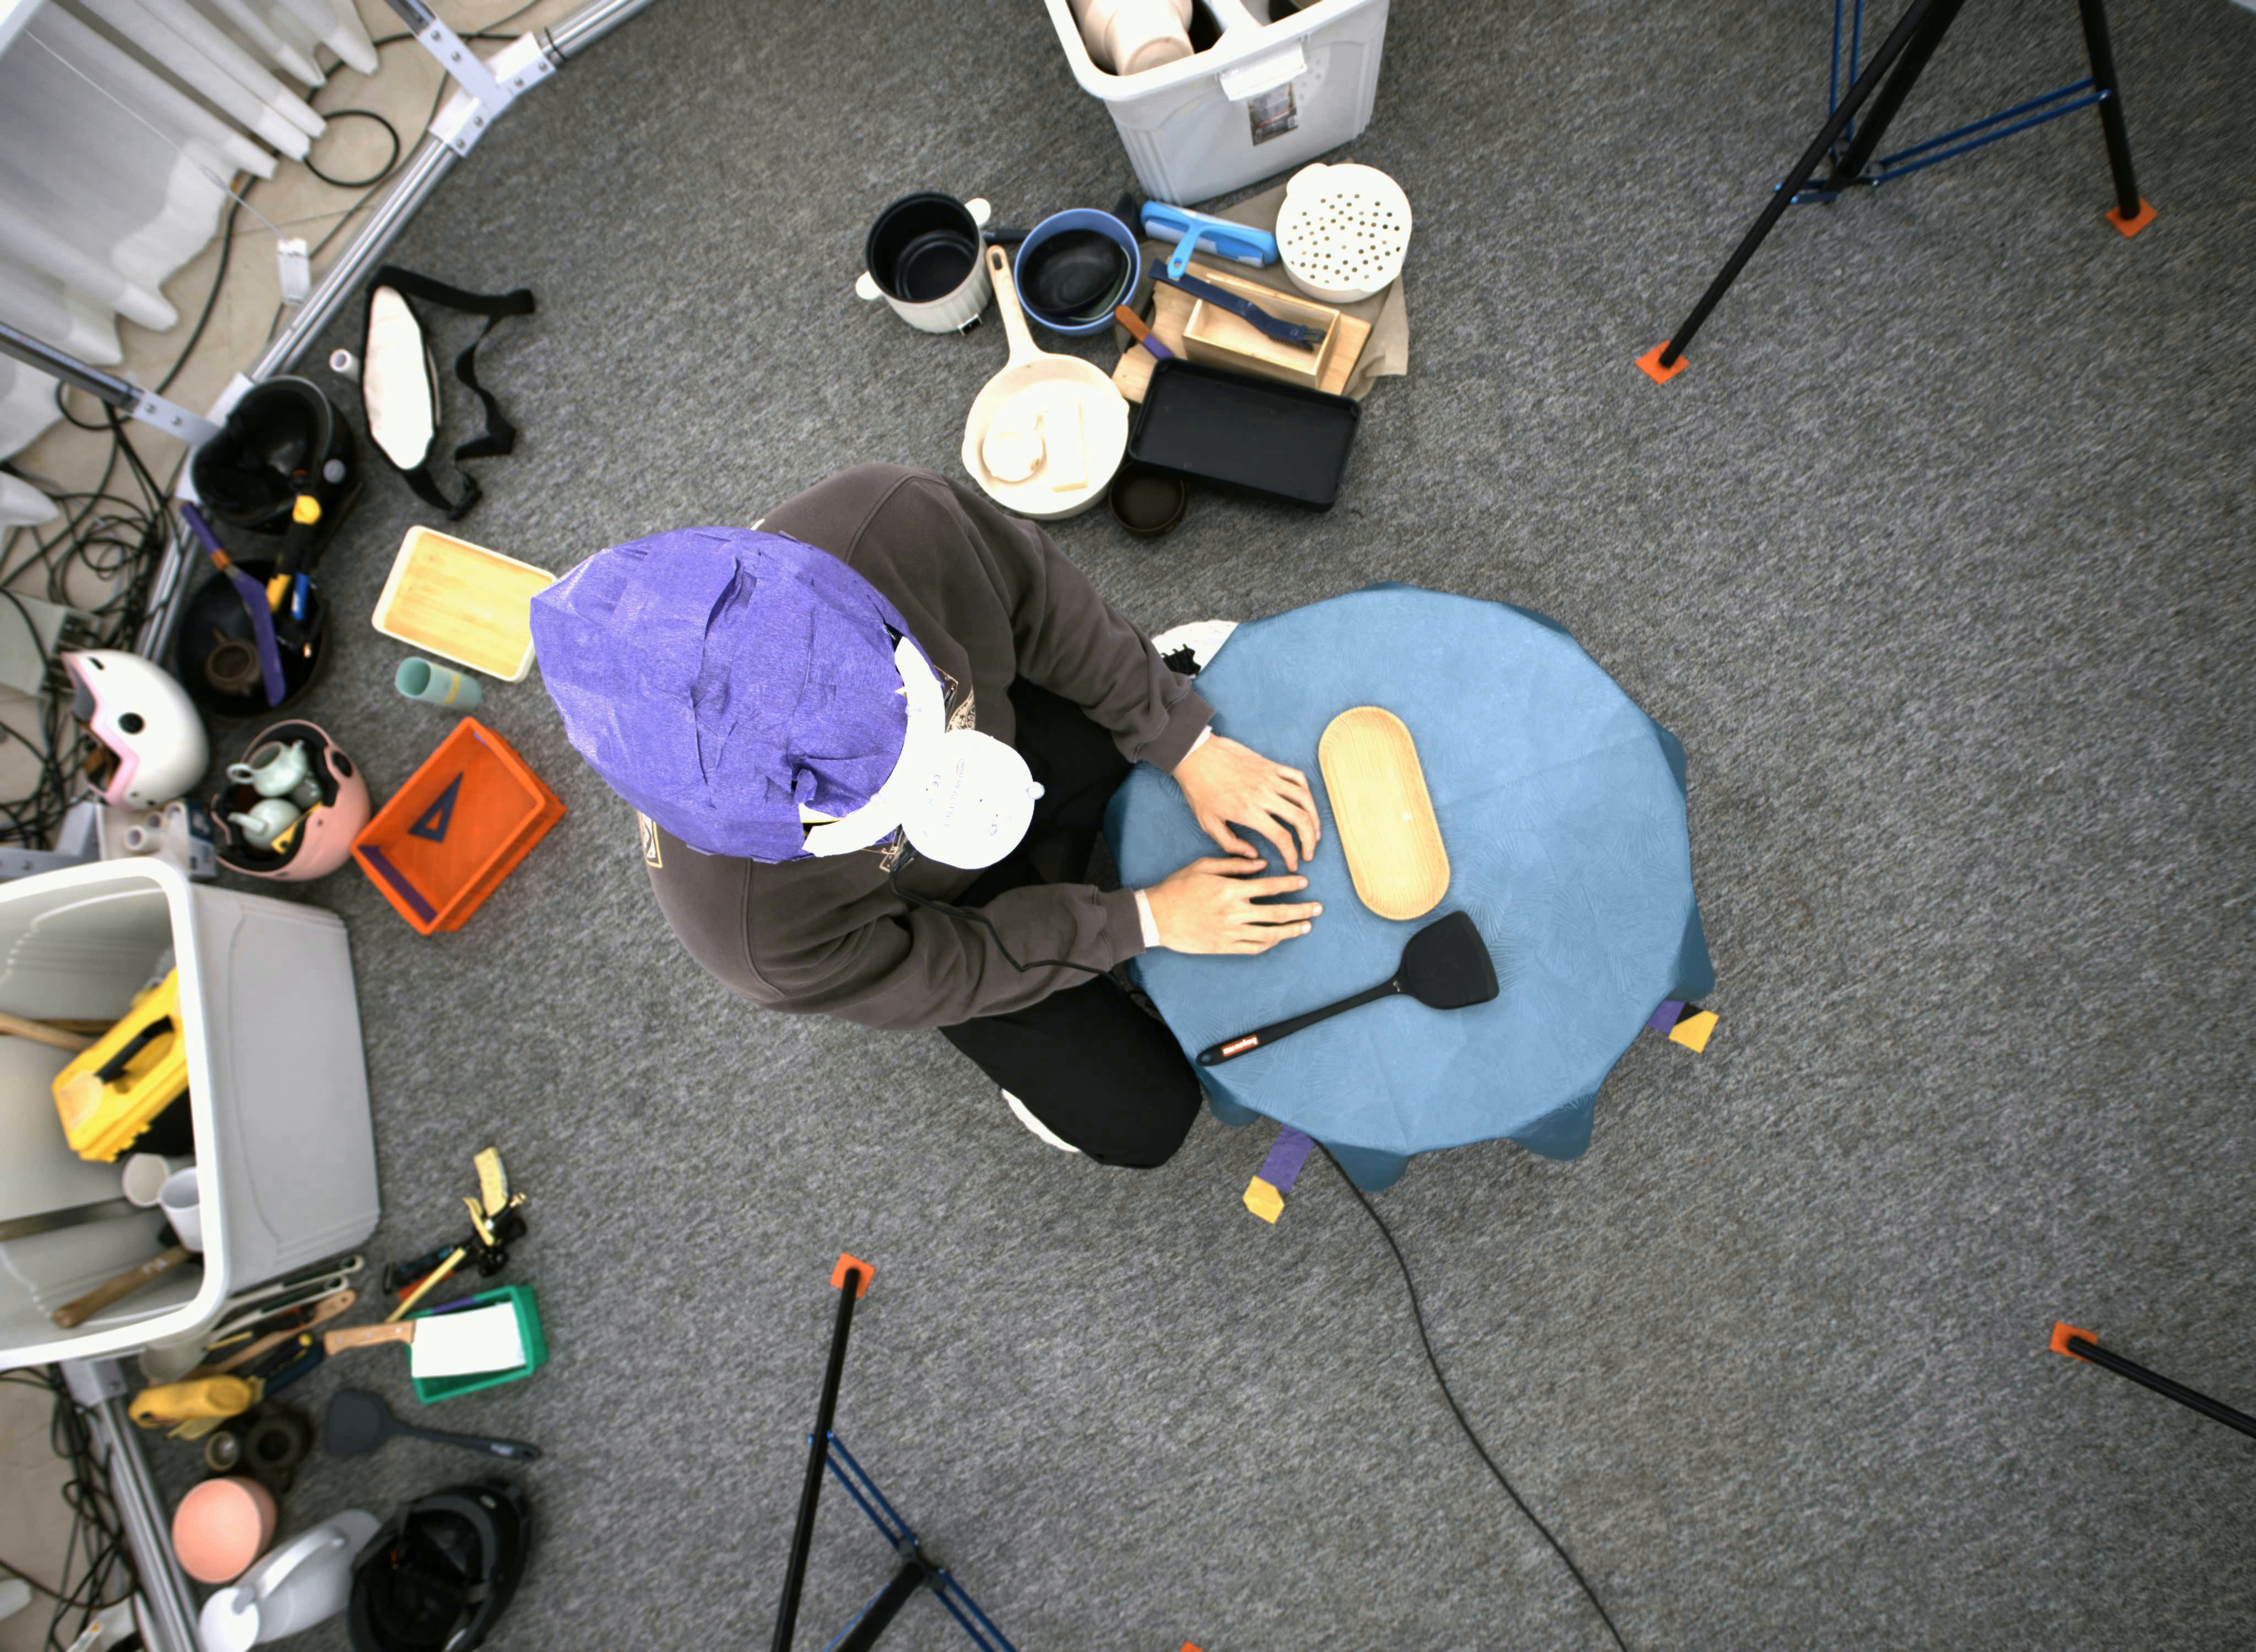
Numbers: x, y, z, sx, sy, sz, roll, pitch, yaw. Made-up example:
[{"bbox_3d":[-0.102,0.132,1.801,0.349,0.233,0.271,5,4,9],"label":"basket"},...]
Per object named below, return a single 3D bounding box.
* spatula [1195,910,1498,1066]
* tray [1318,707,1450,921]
[{"bbox_3d":[0.219,0.187,1.443,0.328,0.040,0.099,-23,82,9],"label":"spatula"},{"bbox_3d":[0.269,-0.014,1.454,0.102,0.020,0.230,-16,86,10],"label":"tray"}]
